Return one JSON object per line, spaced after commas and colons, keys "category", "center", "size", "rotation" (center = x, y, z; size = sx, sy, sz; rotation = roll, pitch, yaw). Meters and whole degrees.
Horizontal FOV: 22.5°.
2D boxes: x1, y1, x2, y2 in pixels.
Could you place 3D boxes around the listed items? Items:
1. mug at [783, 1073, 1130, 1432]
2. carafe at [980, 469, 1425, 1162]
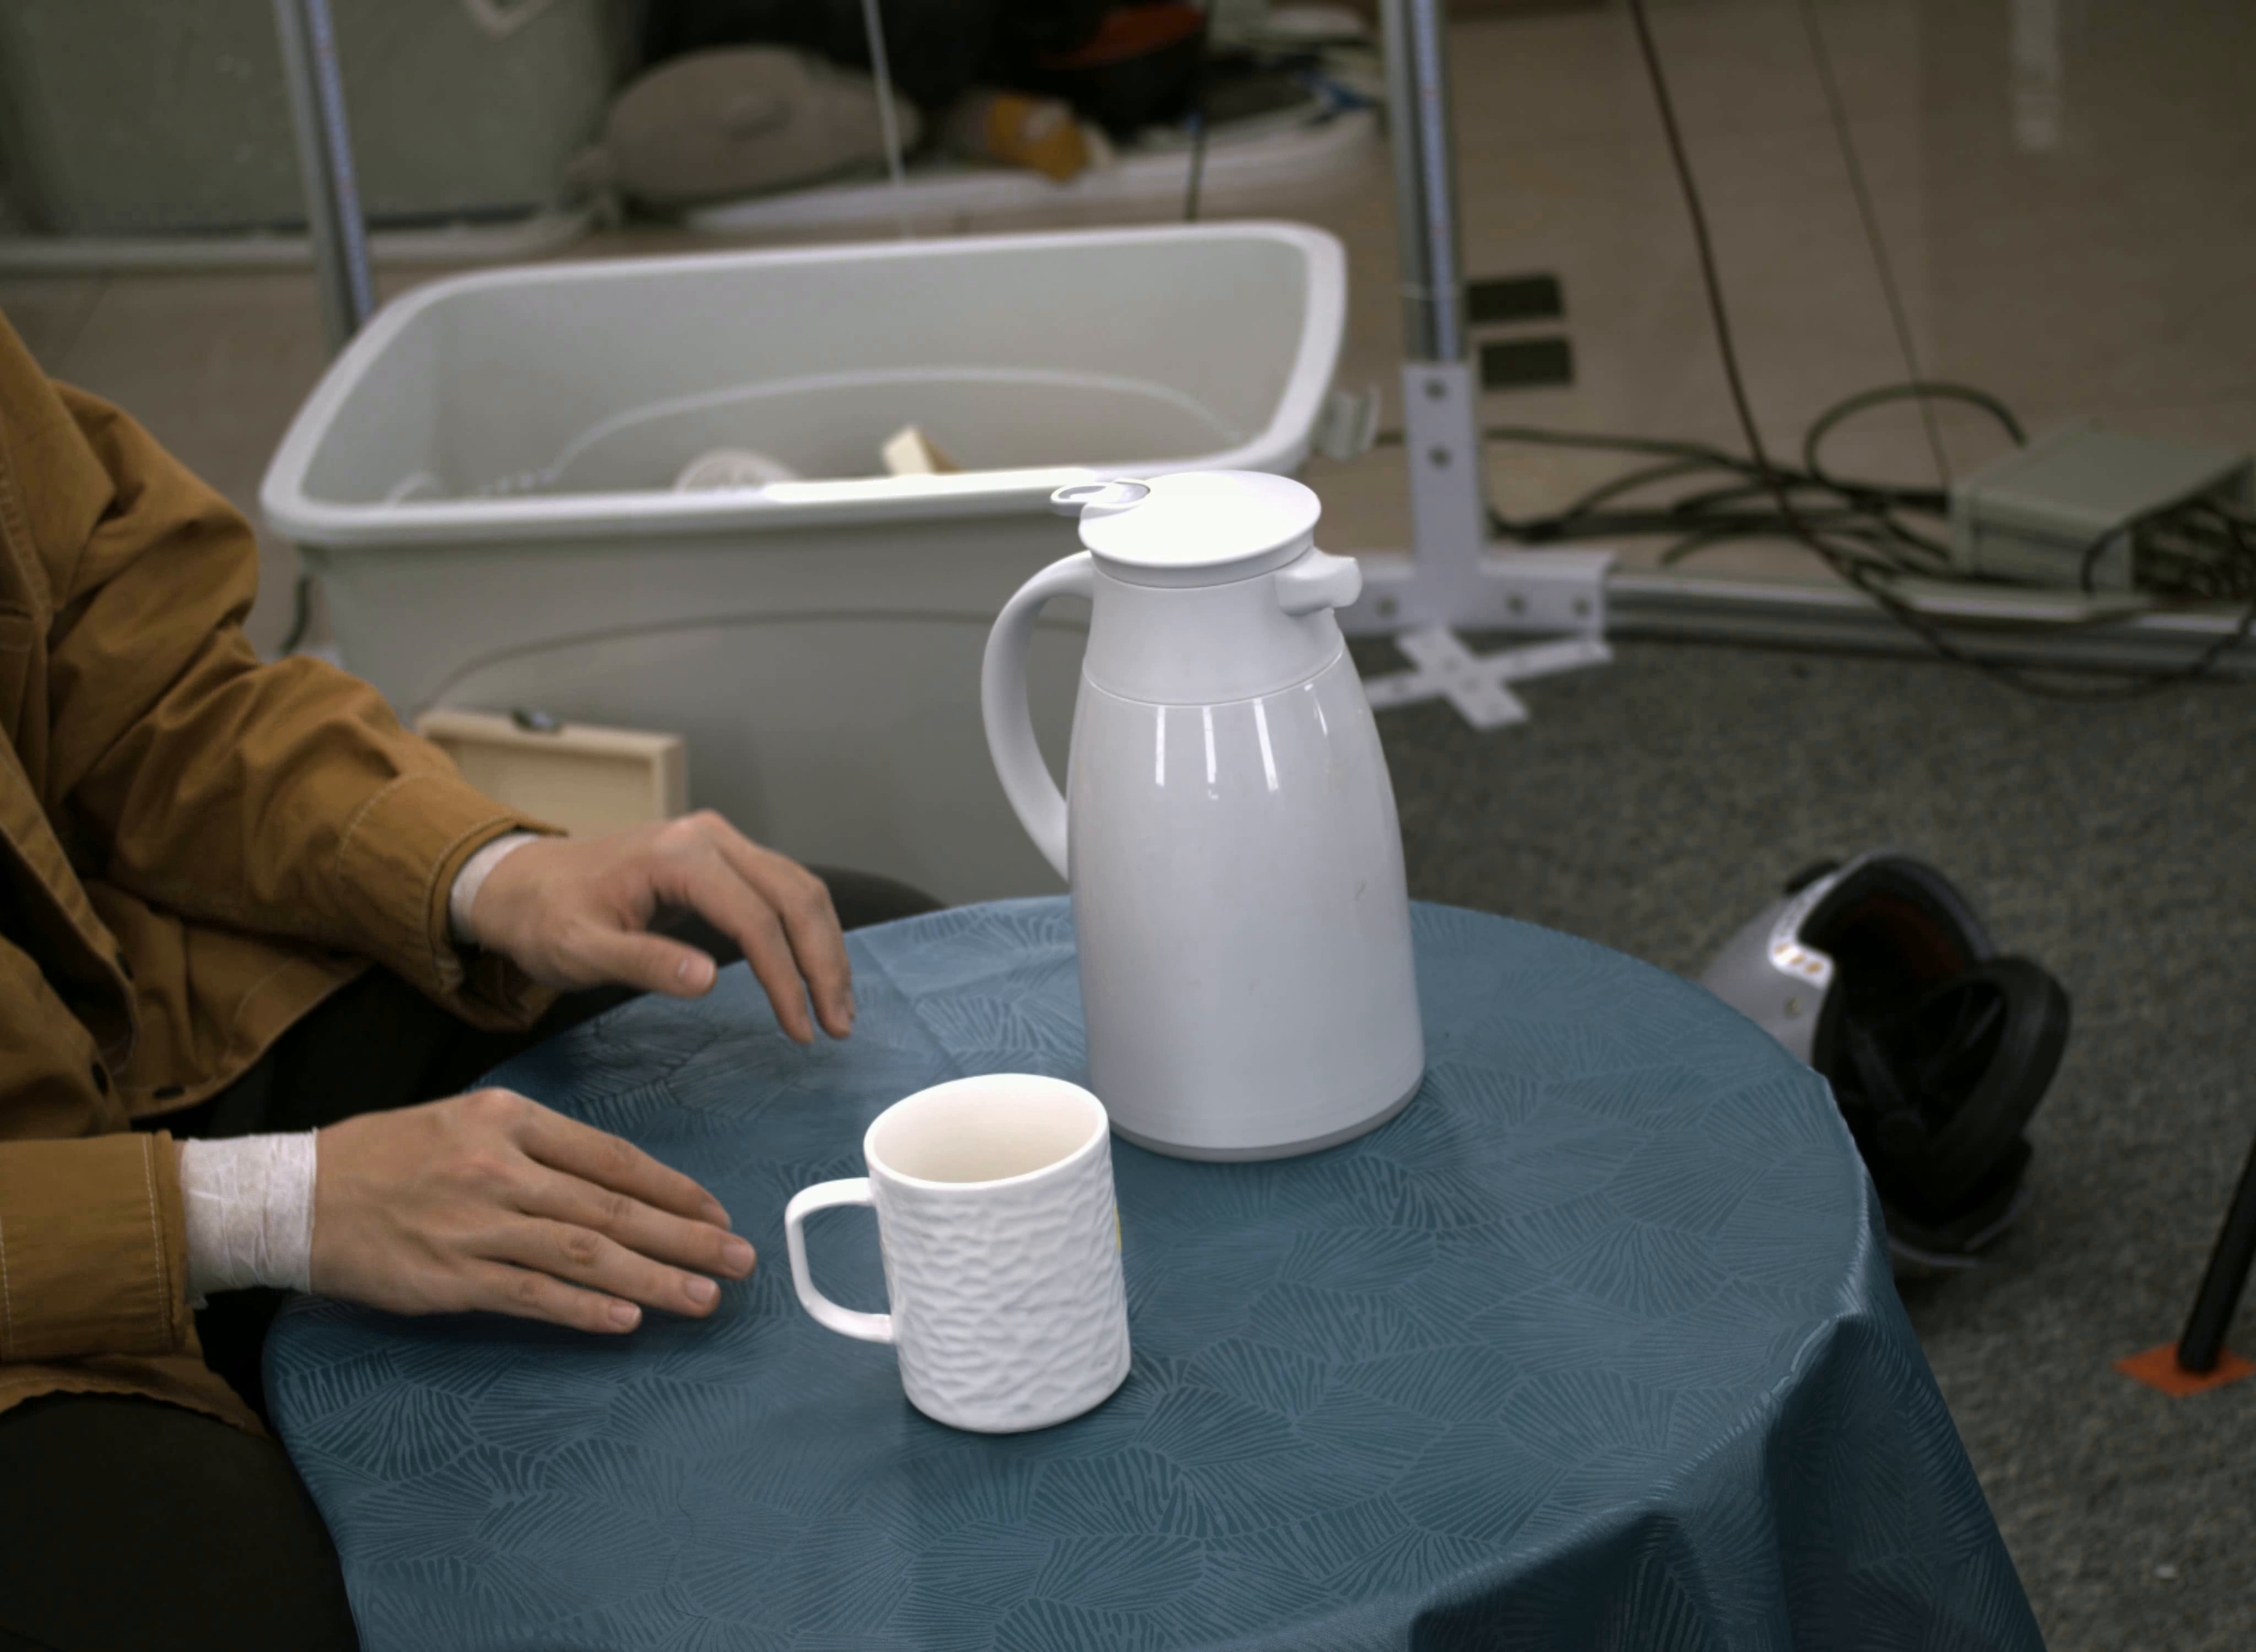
{"category": "mug", "center": [-0.061, 0.153, 2.010], "size": [0.118, 0.103, 0.083], "rotation": [-6, 26, 0]}
{"category": "carafe", "center": [0.021, -0.013, 2.171], "size": [0.167, 0.253, 0.131], "rotation": [8, 30, 29]}
